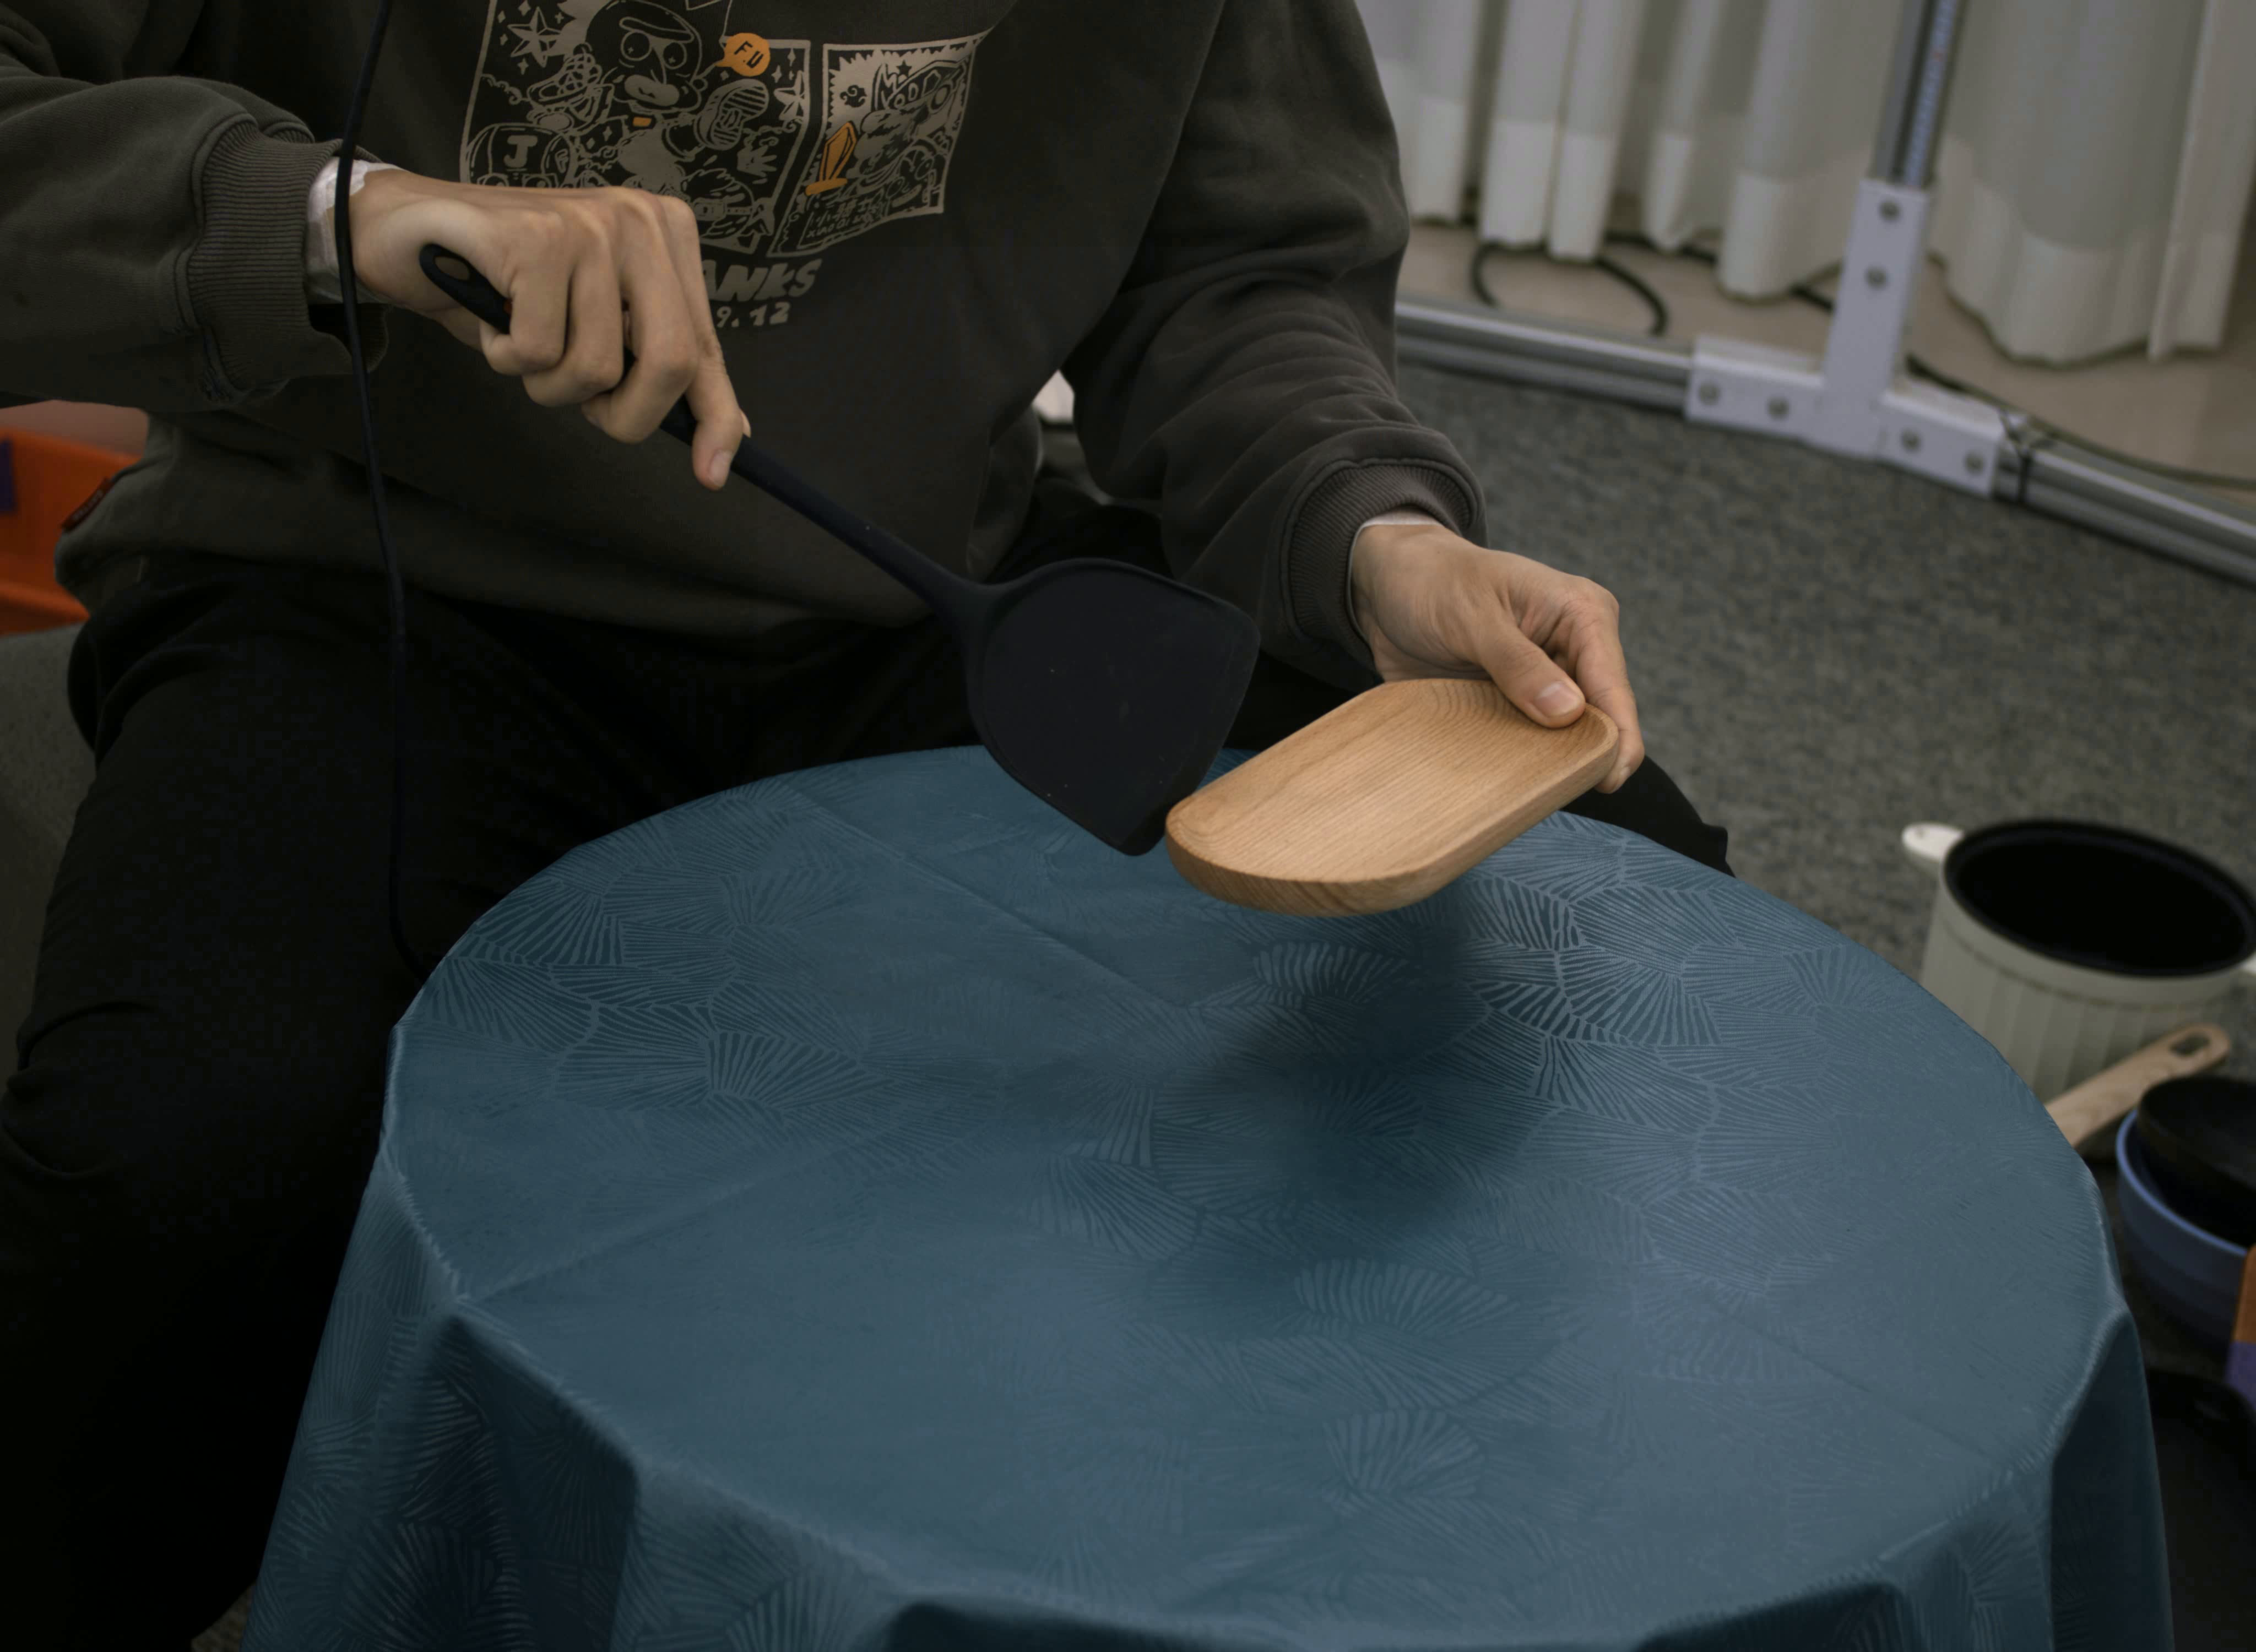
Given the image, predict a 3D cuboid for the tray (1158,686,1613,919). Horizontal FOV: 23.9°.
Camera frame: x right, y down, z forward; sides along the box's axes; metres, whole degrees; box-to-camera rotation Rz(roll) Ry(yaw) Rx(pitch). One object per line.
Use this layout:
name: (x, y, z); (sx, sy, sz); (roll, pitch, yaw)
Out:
tray: (0.093, -0.010, 1.880); (0.102, 0.020, 0.230); (12, 23, 27)

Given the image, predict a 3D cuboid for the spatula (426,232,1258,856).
spatula: (-0.101, -0.109, 1.812); (0.324, 0.100, 0.040); (34, -16, -23)
